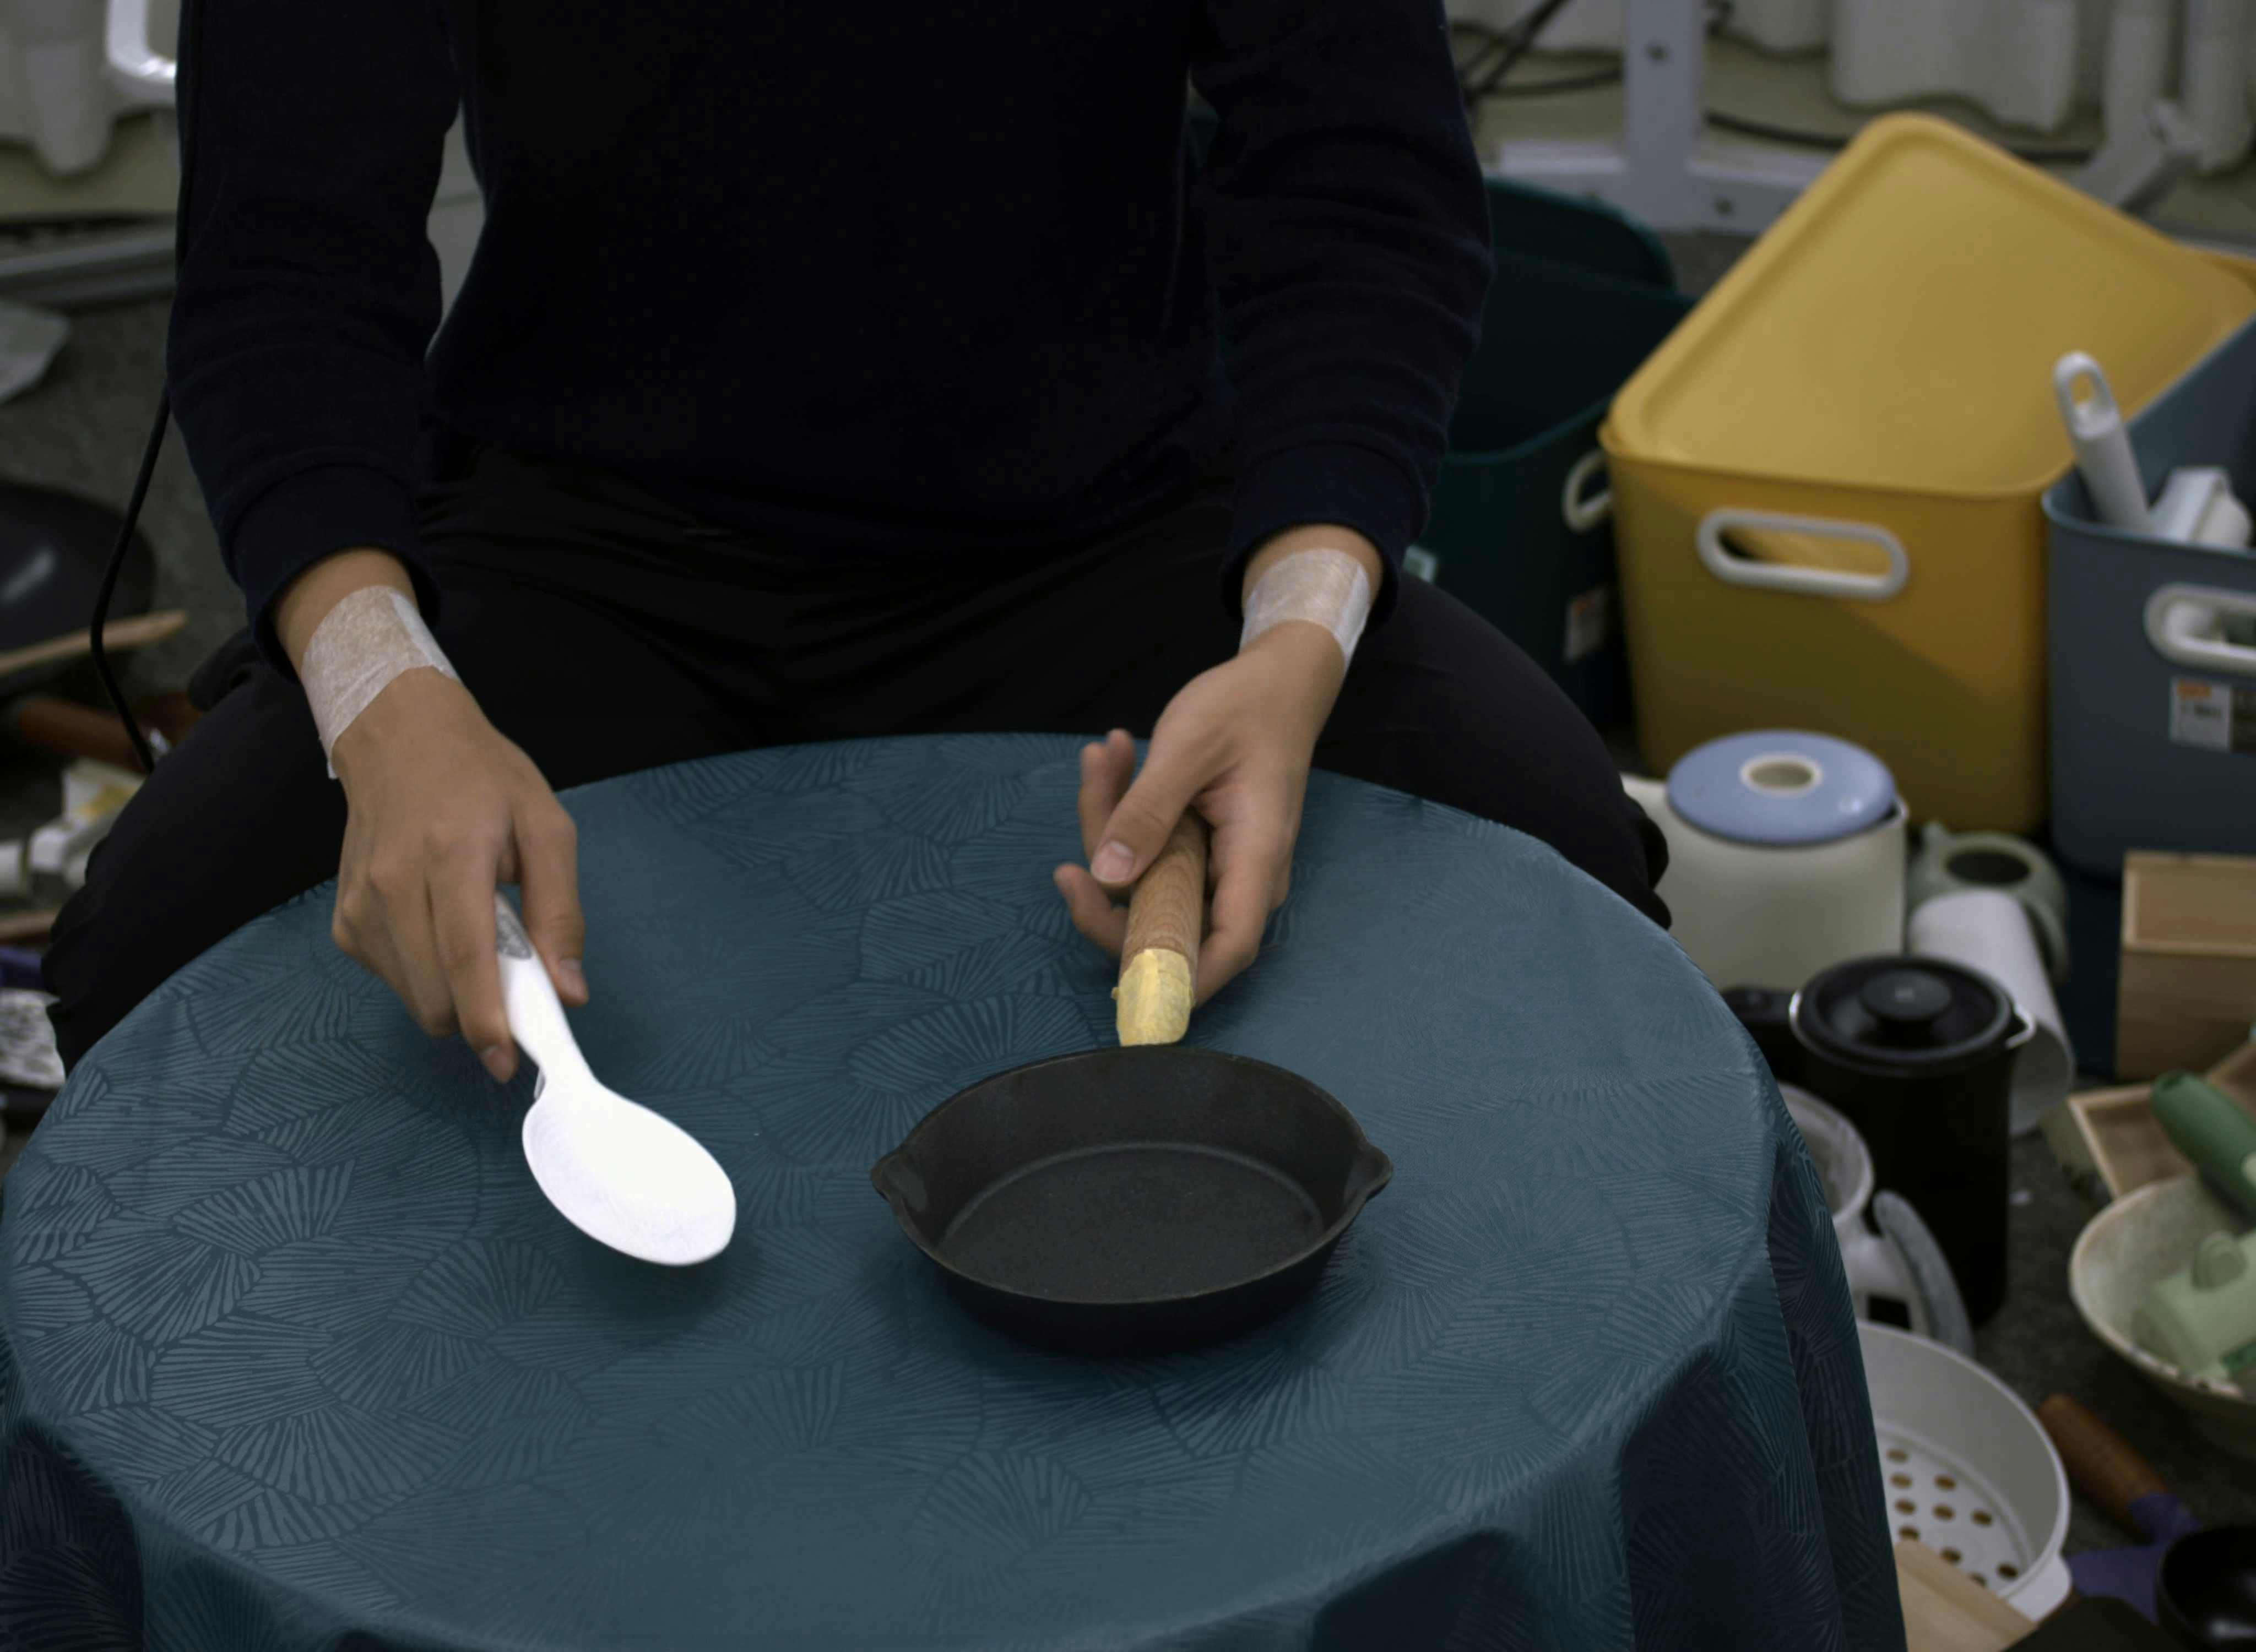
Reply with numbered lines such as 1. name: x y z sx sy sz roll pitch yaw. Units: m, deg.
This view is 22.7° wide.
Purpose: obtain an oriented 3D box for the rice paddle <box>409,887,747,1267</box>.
1. rice paddle: -0.187 0.086 1.870 0.069 0.029 0.207 -1 31 -32

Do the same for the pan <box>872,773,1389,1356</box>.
1. pan: 0.010 0.077 1.893 0.168 0.049 0.330 0 29 7
